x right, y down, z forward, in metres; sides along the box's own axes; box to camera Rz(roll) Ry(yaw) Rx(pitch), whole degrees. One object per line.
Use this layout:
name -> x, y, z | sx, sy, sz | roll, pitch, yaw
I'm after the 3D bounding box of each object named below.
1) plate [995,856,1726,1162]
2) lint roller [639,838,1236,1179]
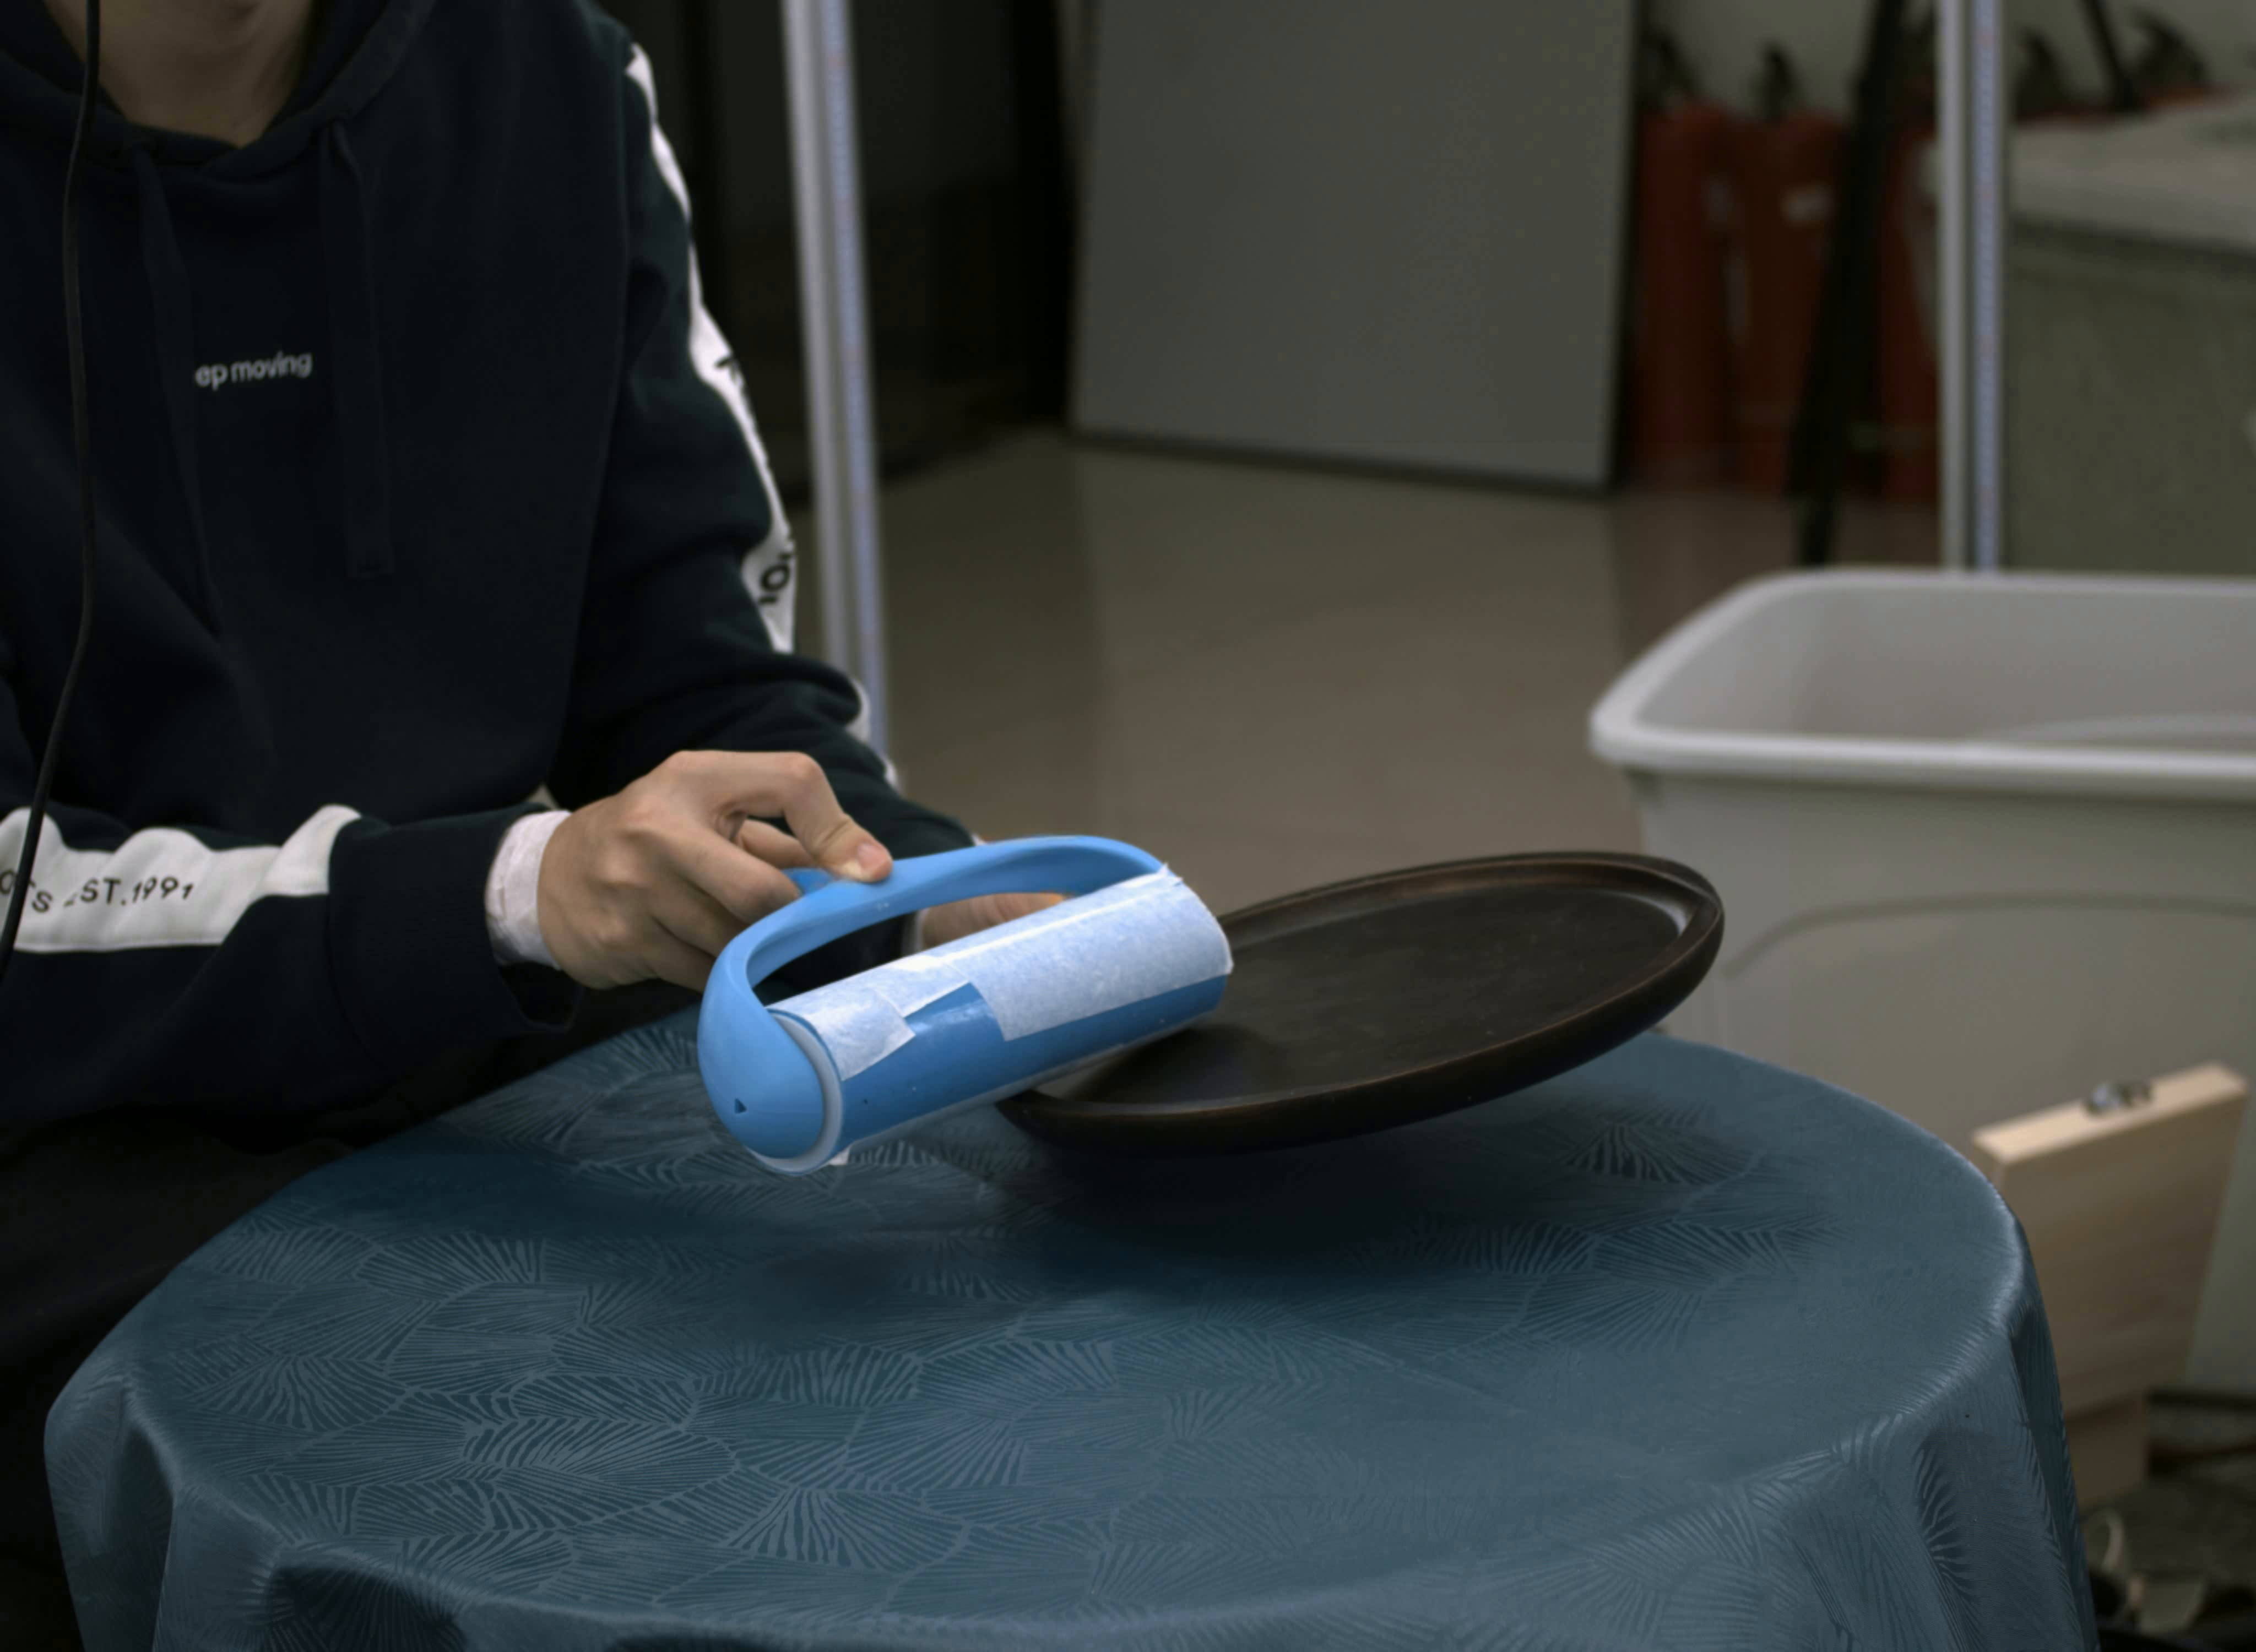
plate -> 0.075, 0.059, 1.768 | 0.252, 0.029, 0.255 | -13, 11, 2
lint roller -> -0.090, 0.047, 1.752 | 0.181, 0.068, 0.225 | 16, 23, 34
